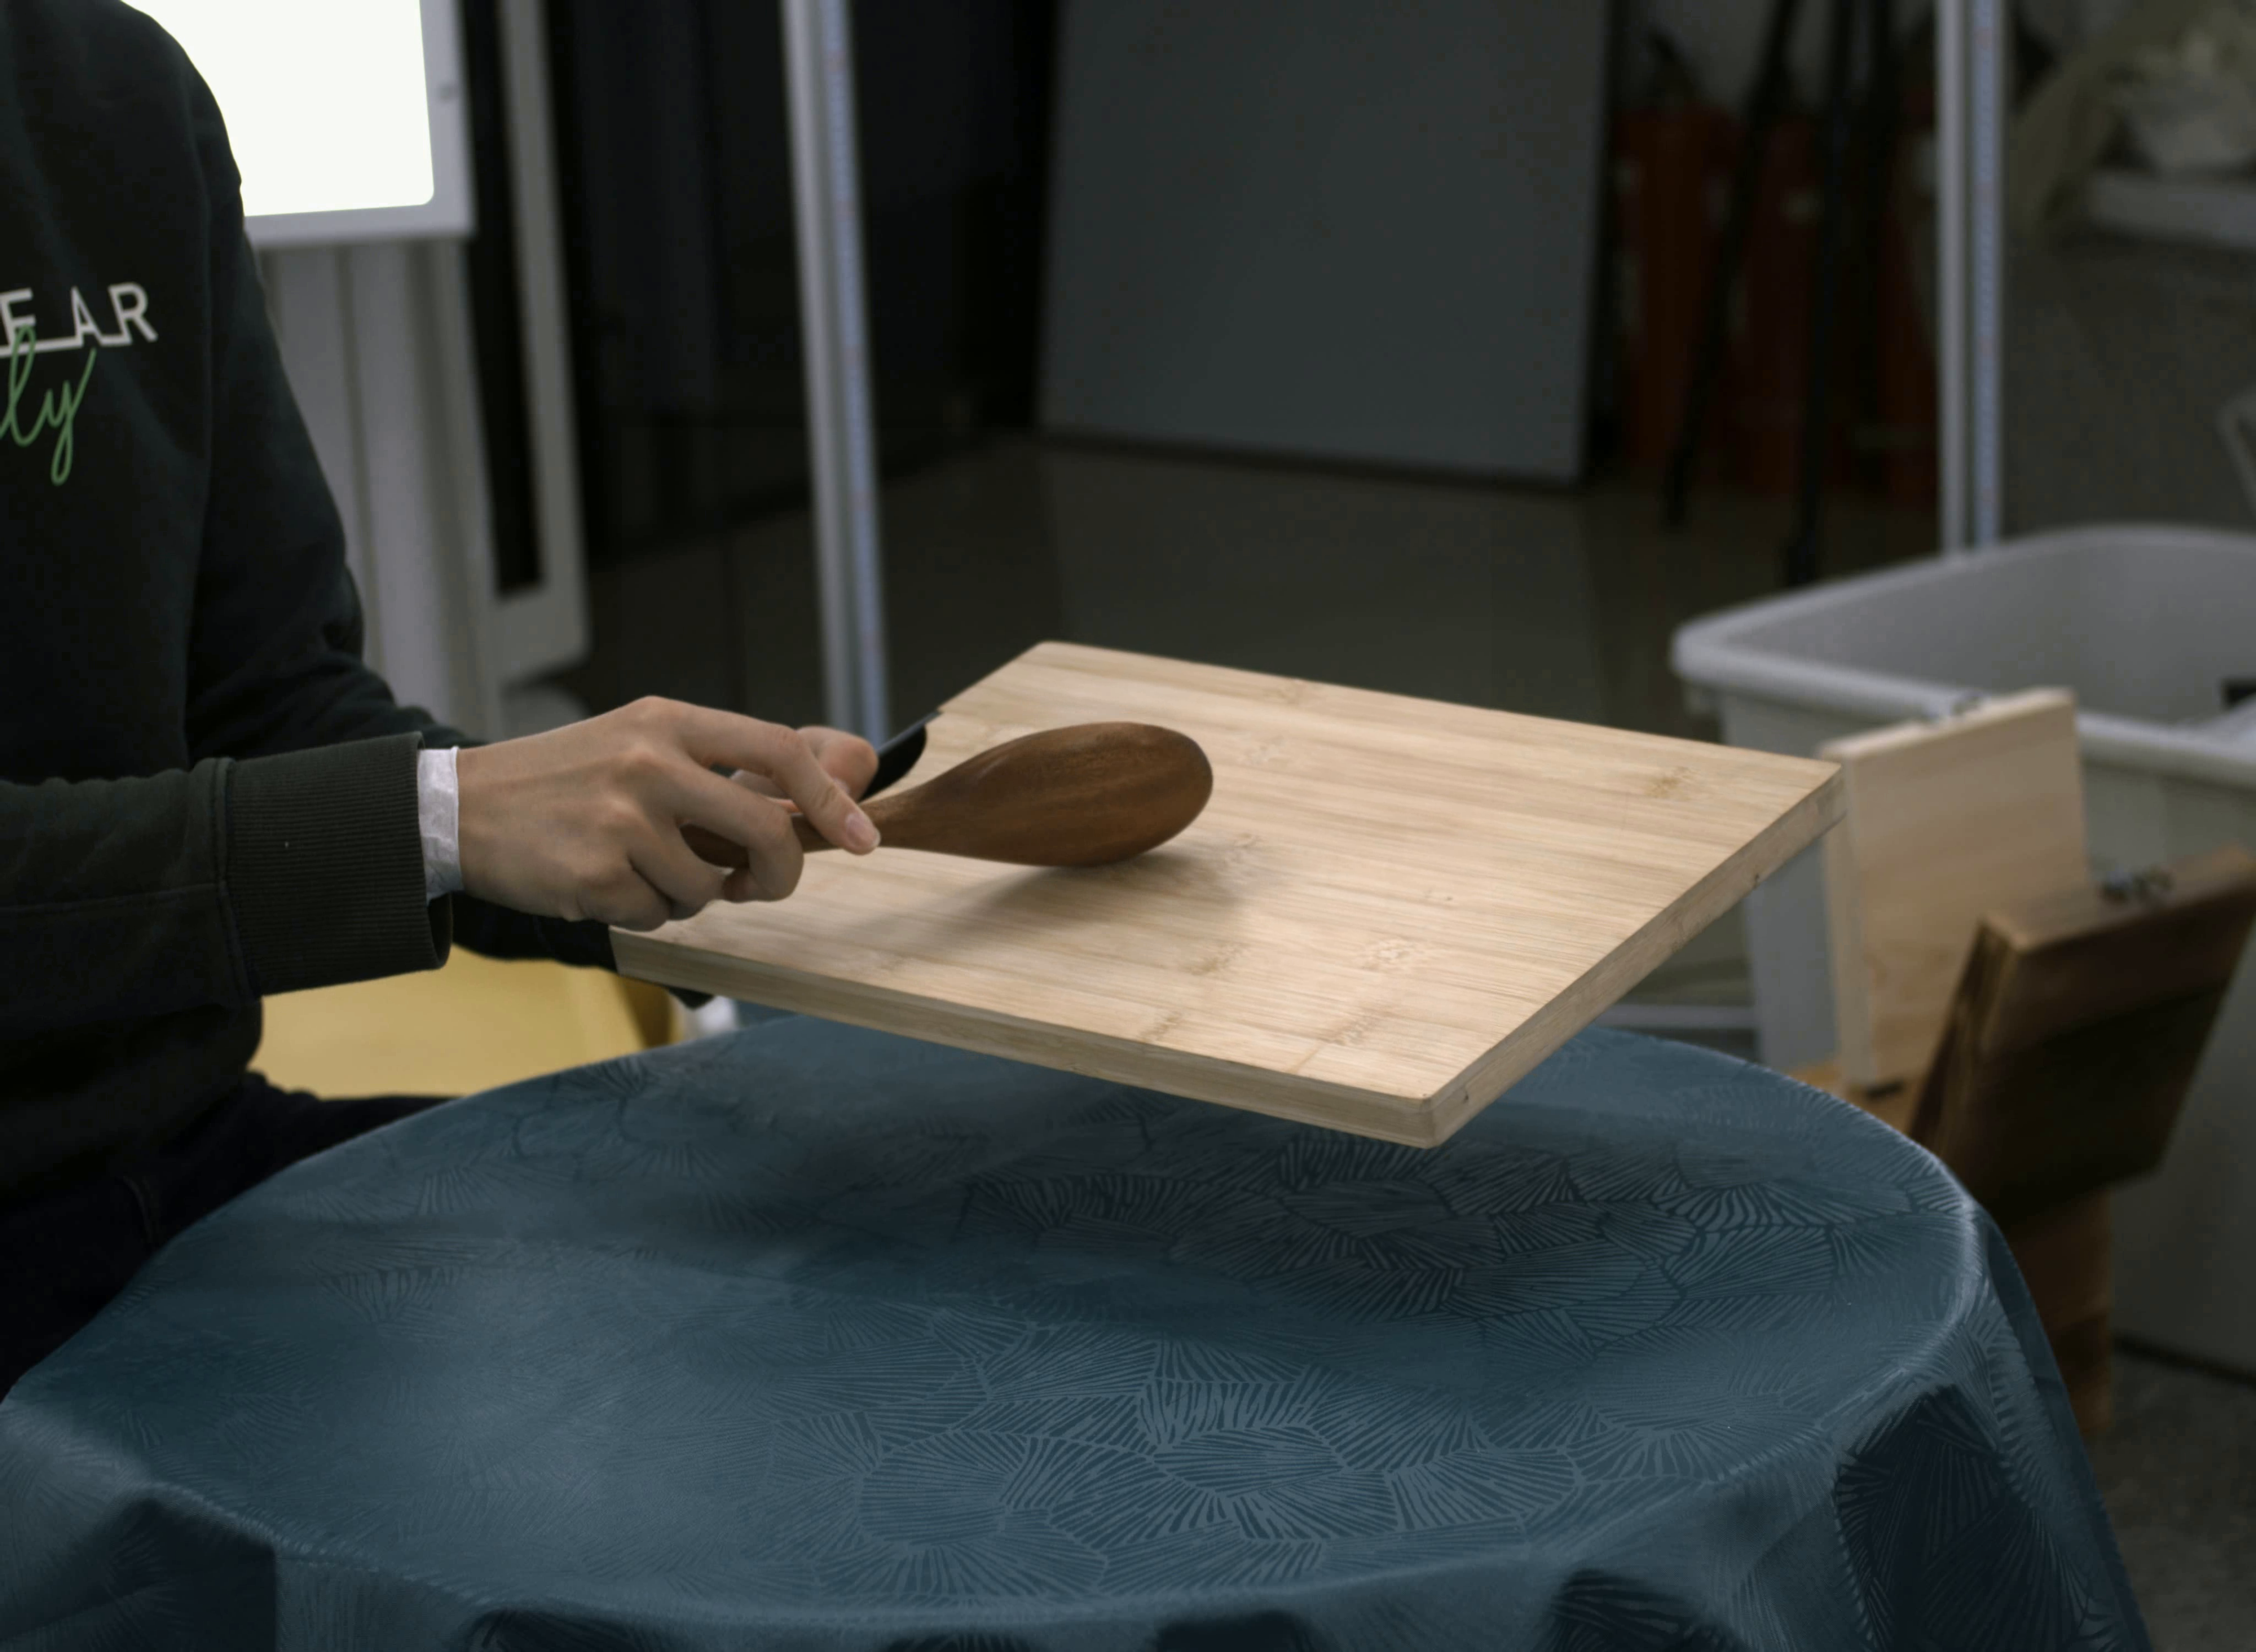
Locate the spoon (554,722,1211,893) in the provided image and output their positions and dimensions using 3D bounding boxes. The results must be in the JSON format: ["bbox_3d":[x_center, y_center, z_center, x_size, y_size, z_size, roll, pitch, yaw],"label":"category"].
[{"bbox_3d":[-0.078,-0.001,1.739,0.213,0.017,0.075,-7,-31,0],"label":"spoon"}]

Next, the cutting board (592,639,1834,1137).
[{"bbox_3d":[0.025,0.013,1.768,0.351,0.024,0.247,9,30,38],"label":"cutting board"}]
